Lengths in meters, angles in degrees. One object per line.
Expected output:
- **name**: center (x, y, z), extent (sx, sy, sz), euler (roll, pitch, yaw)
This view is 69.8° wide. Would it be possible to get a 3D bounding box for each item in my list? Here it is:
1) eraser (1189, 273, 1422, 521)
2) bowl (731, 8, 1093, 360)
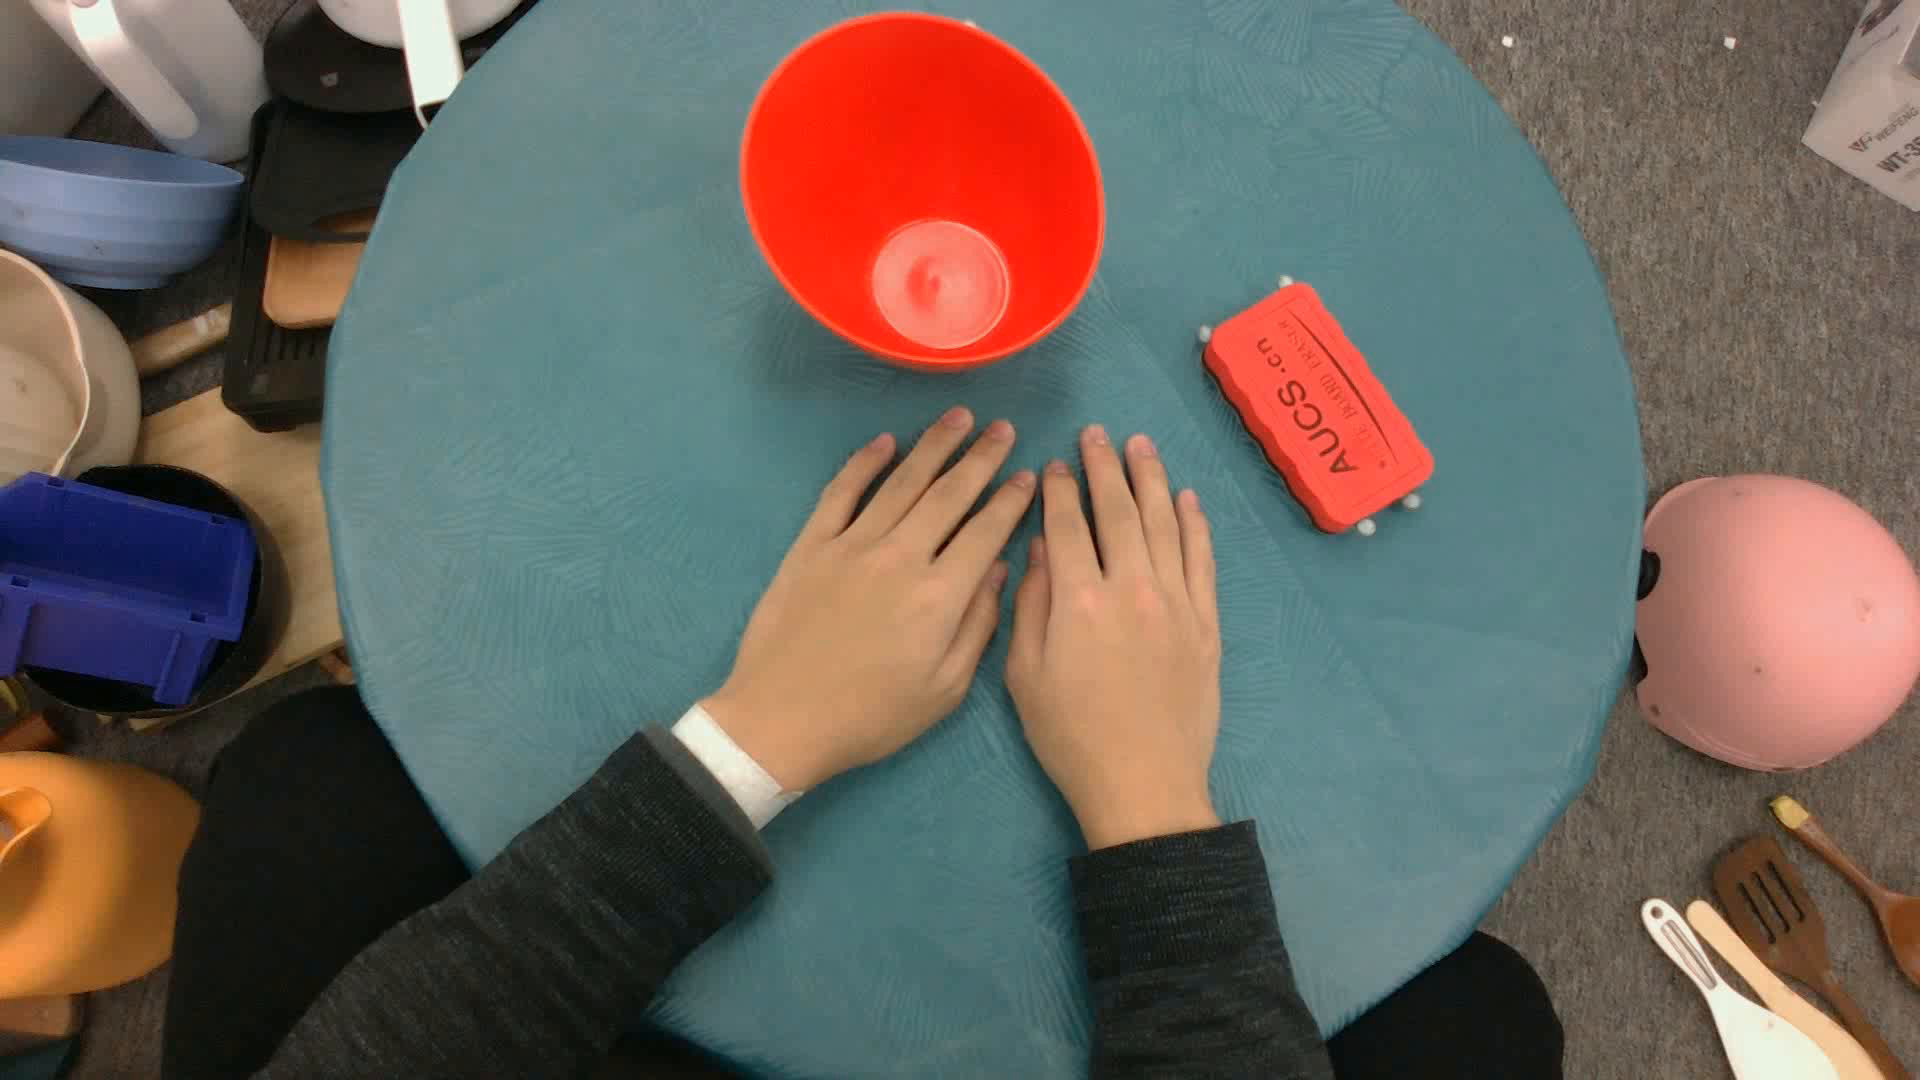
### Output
- **eraser**: center (0.156, -0.066, 0.629), extent (0.059, 0.023, 0.108), euler (-31, 80, -14)
- **bowl**: center (-0.021, -0.137, 0.592), extent (0.148, 0.104, 0.148), euler (1, 76, -6)
